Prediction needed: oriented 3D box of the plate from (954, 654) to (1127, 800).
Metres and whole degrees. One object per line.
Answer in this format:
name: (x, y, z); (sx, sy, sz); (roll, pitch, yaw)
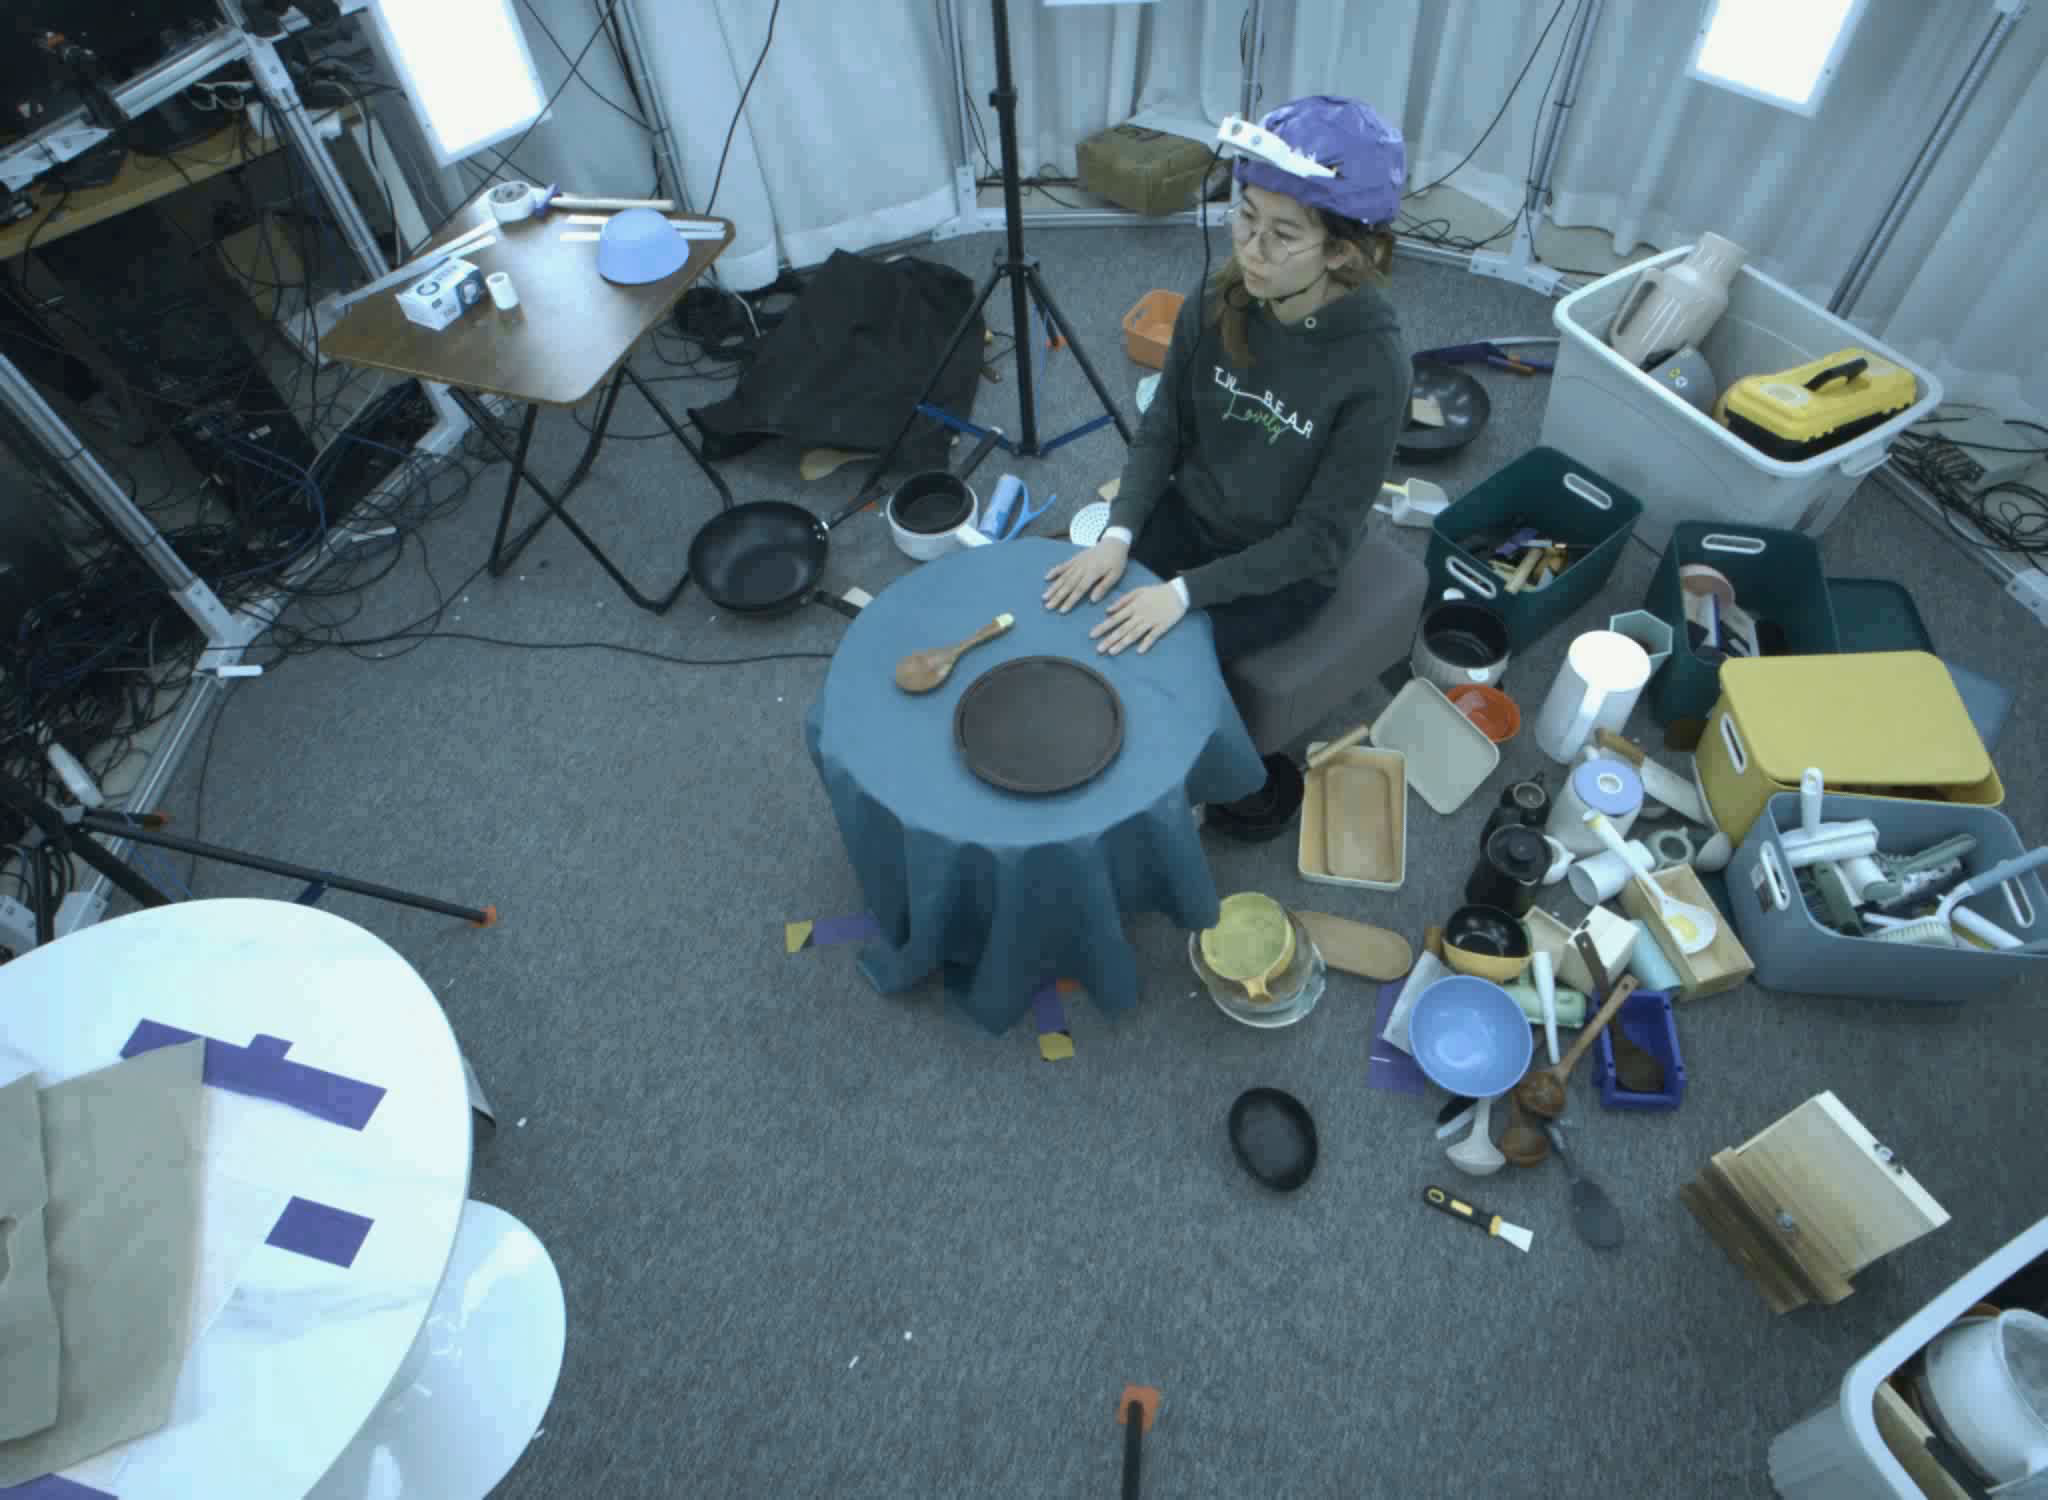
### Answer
plate: (0.024, -0.032, 1.806); (0.254, 0.029, 0.252); (0, 56, 2)

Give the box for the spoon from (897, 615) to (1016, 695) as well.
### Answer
spoon: (-0.101, -0.148, 1.895); (0.217, 0.017, 0.074); (-34, 61, -20)
